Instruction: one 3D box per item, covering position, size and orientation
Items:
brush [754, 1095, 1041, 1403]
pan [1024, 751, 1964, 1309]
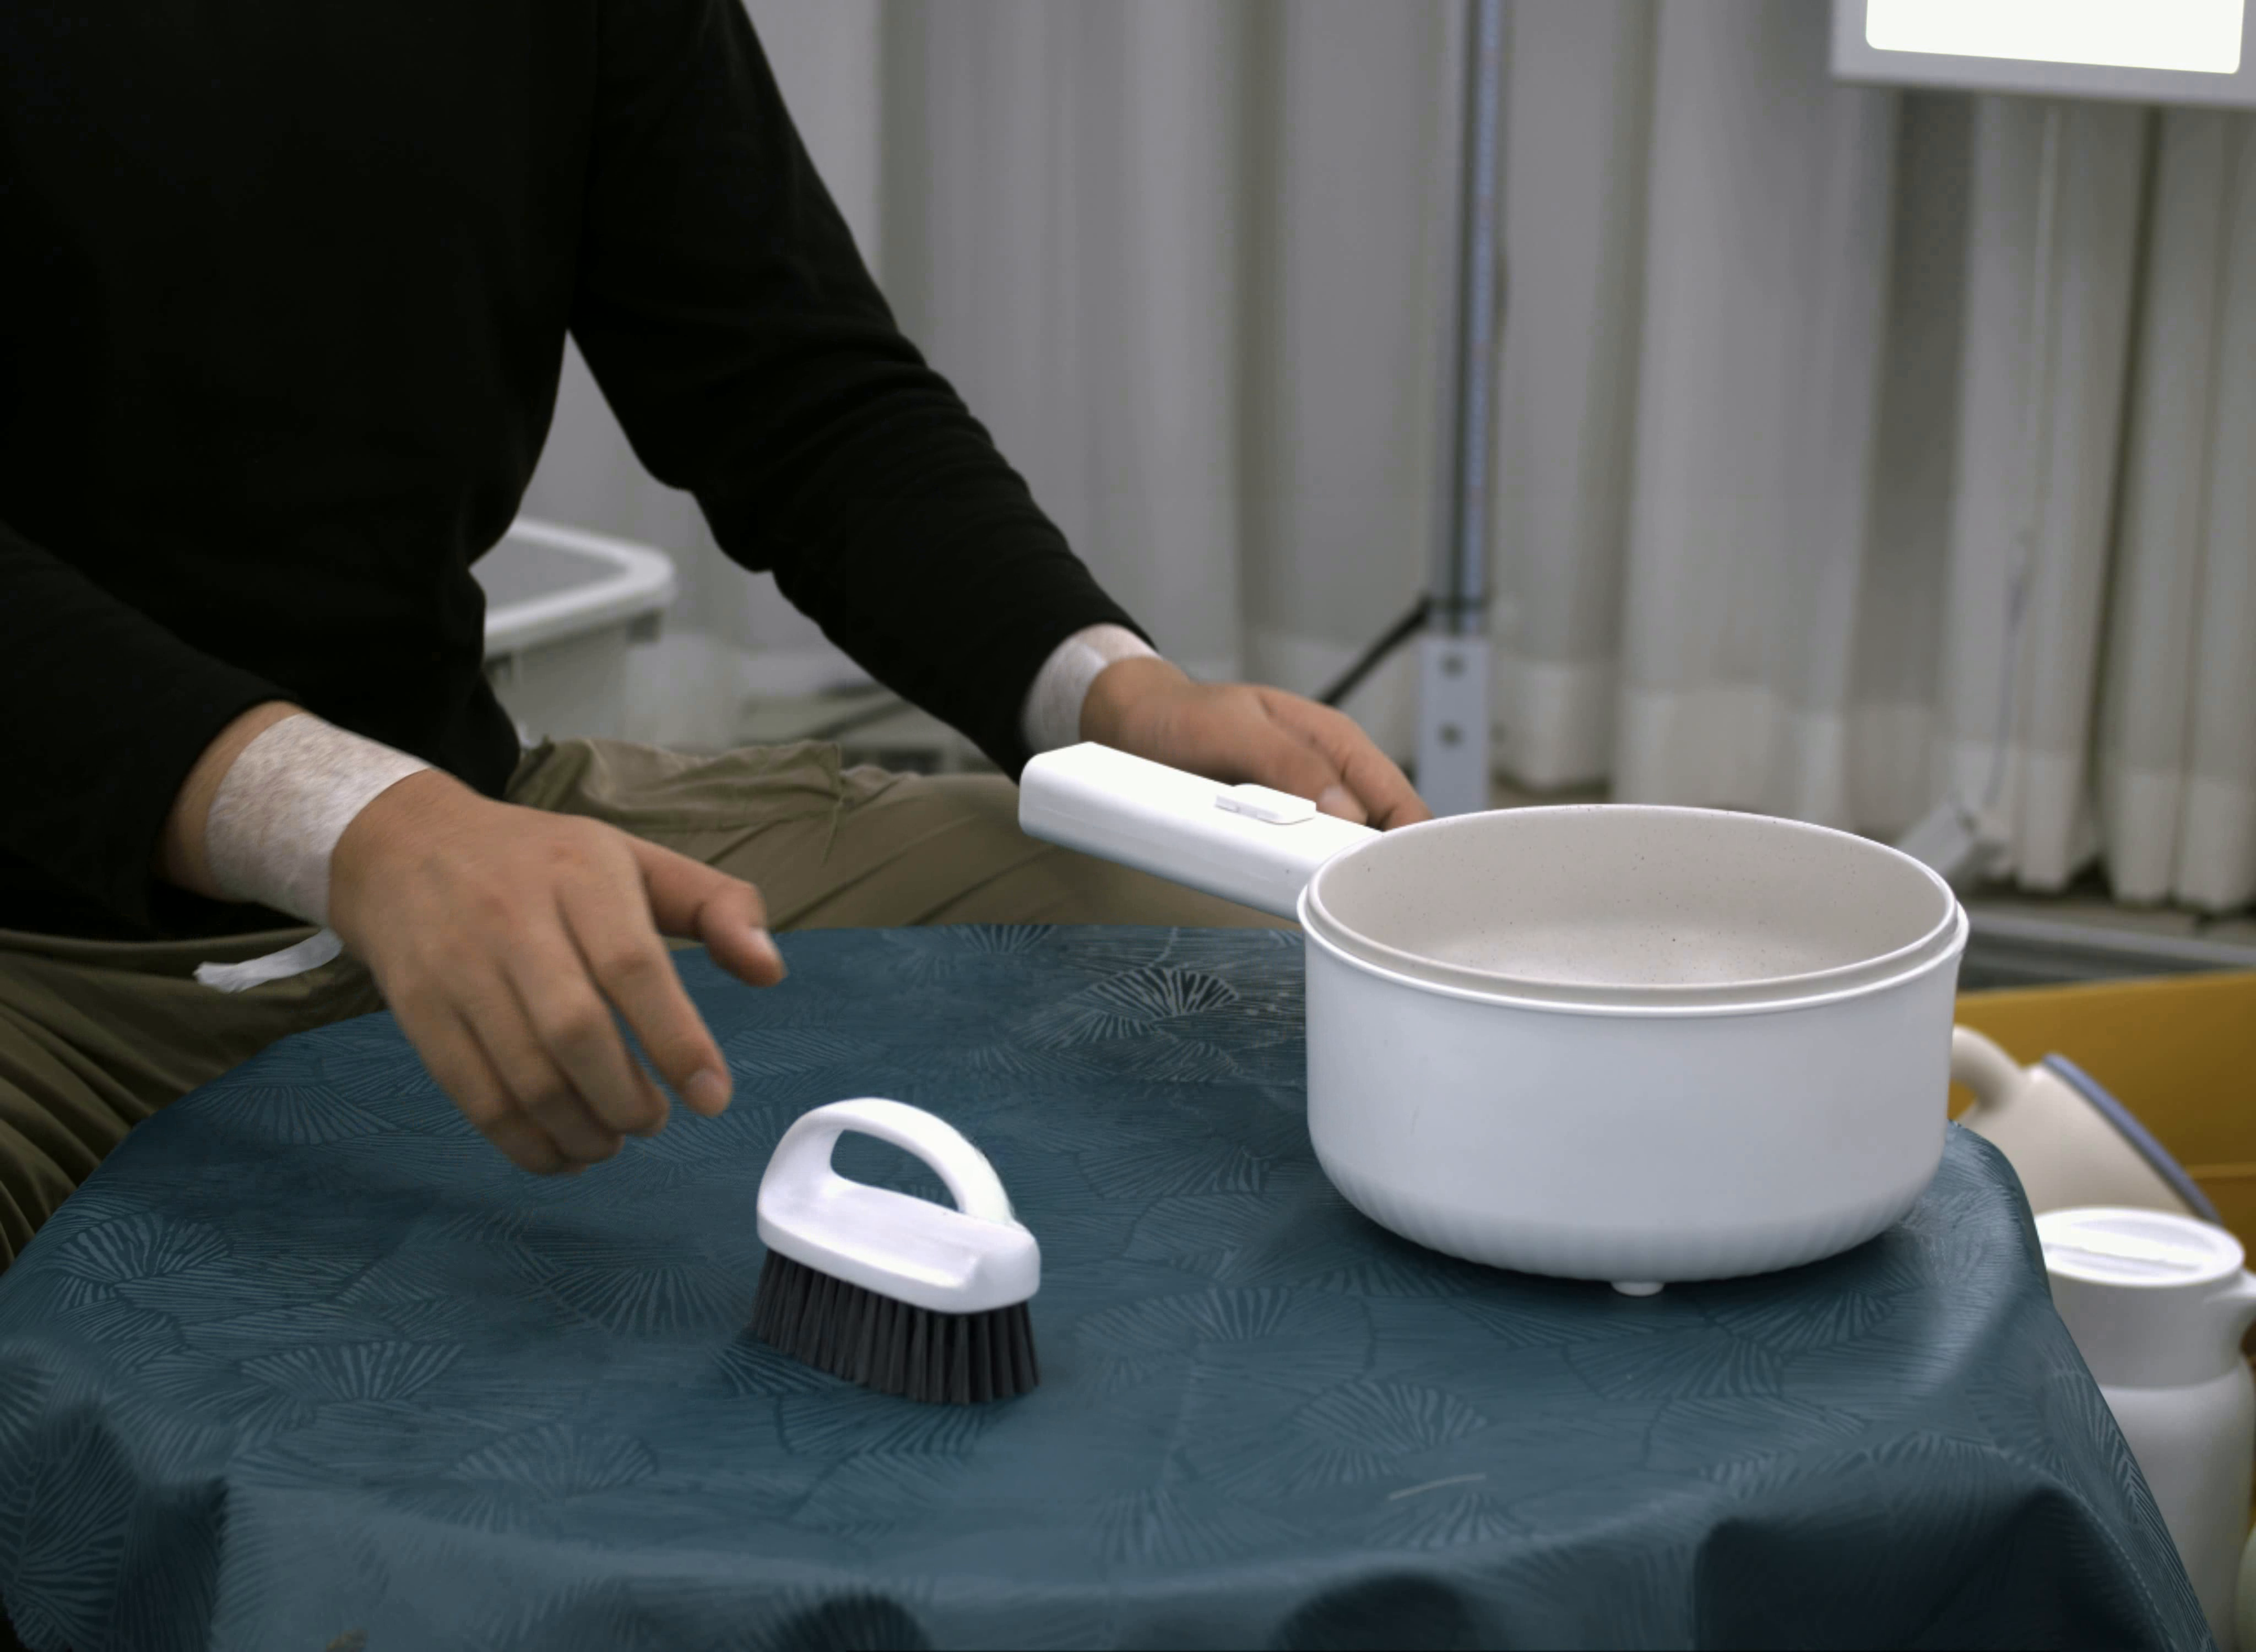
[{"bbox_3d":[-0.066,0.113,1.477,0.050,0.073,0.098,-14,22,-41],"label":"brush"},{"bbox_3d":[0.099,0.056,1.651,0.202,0.103,0.350,-17,22,-41],"label":"pan"}]
